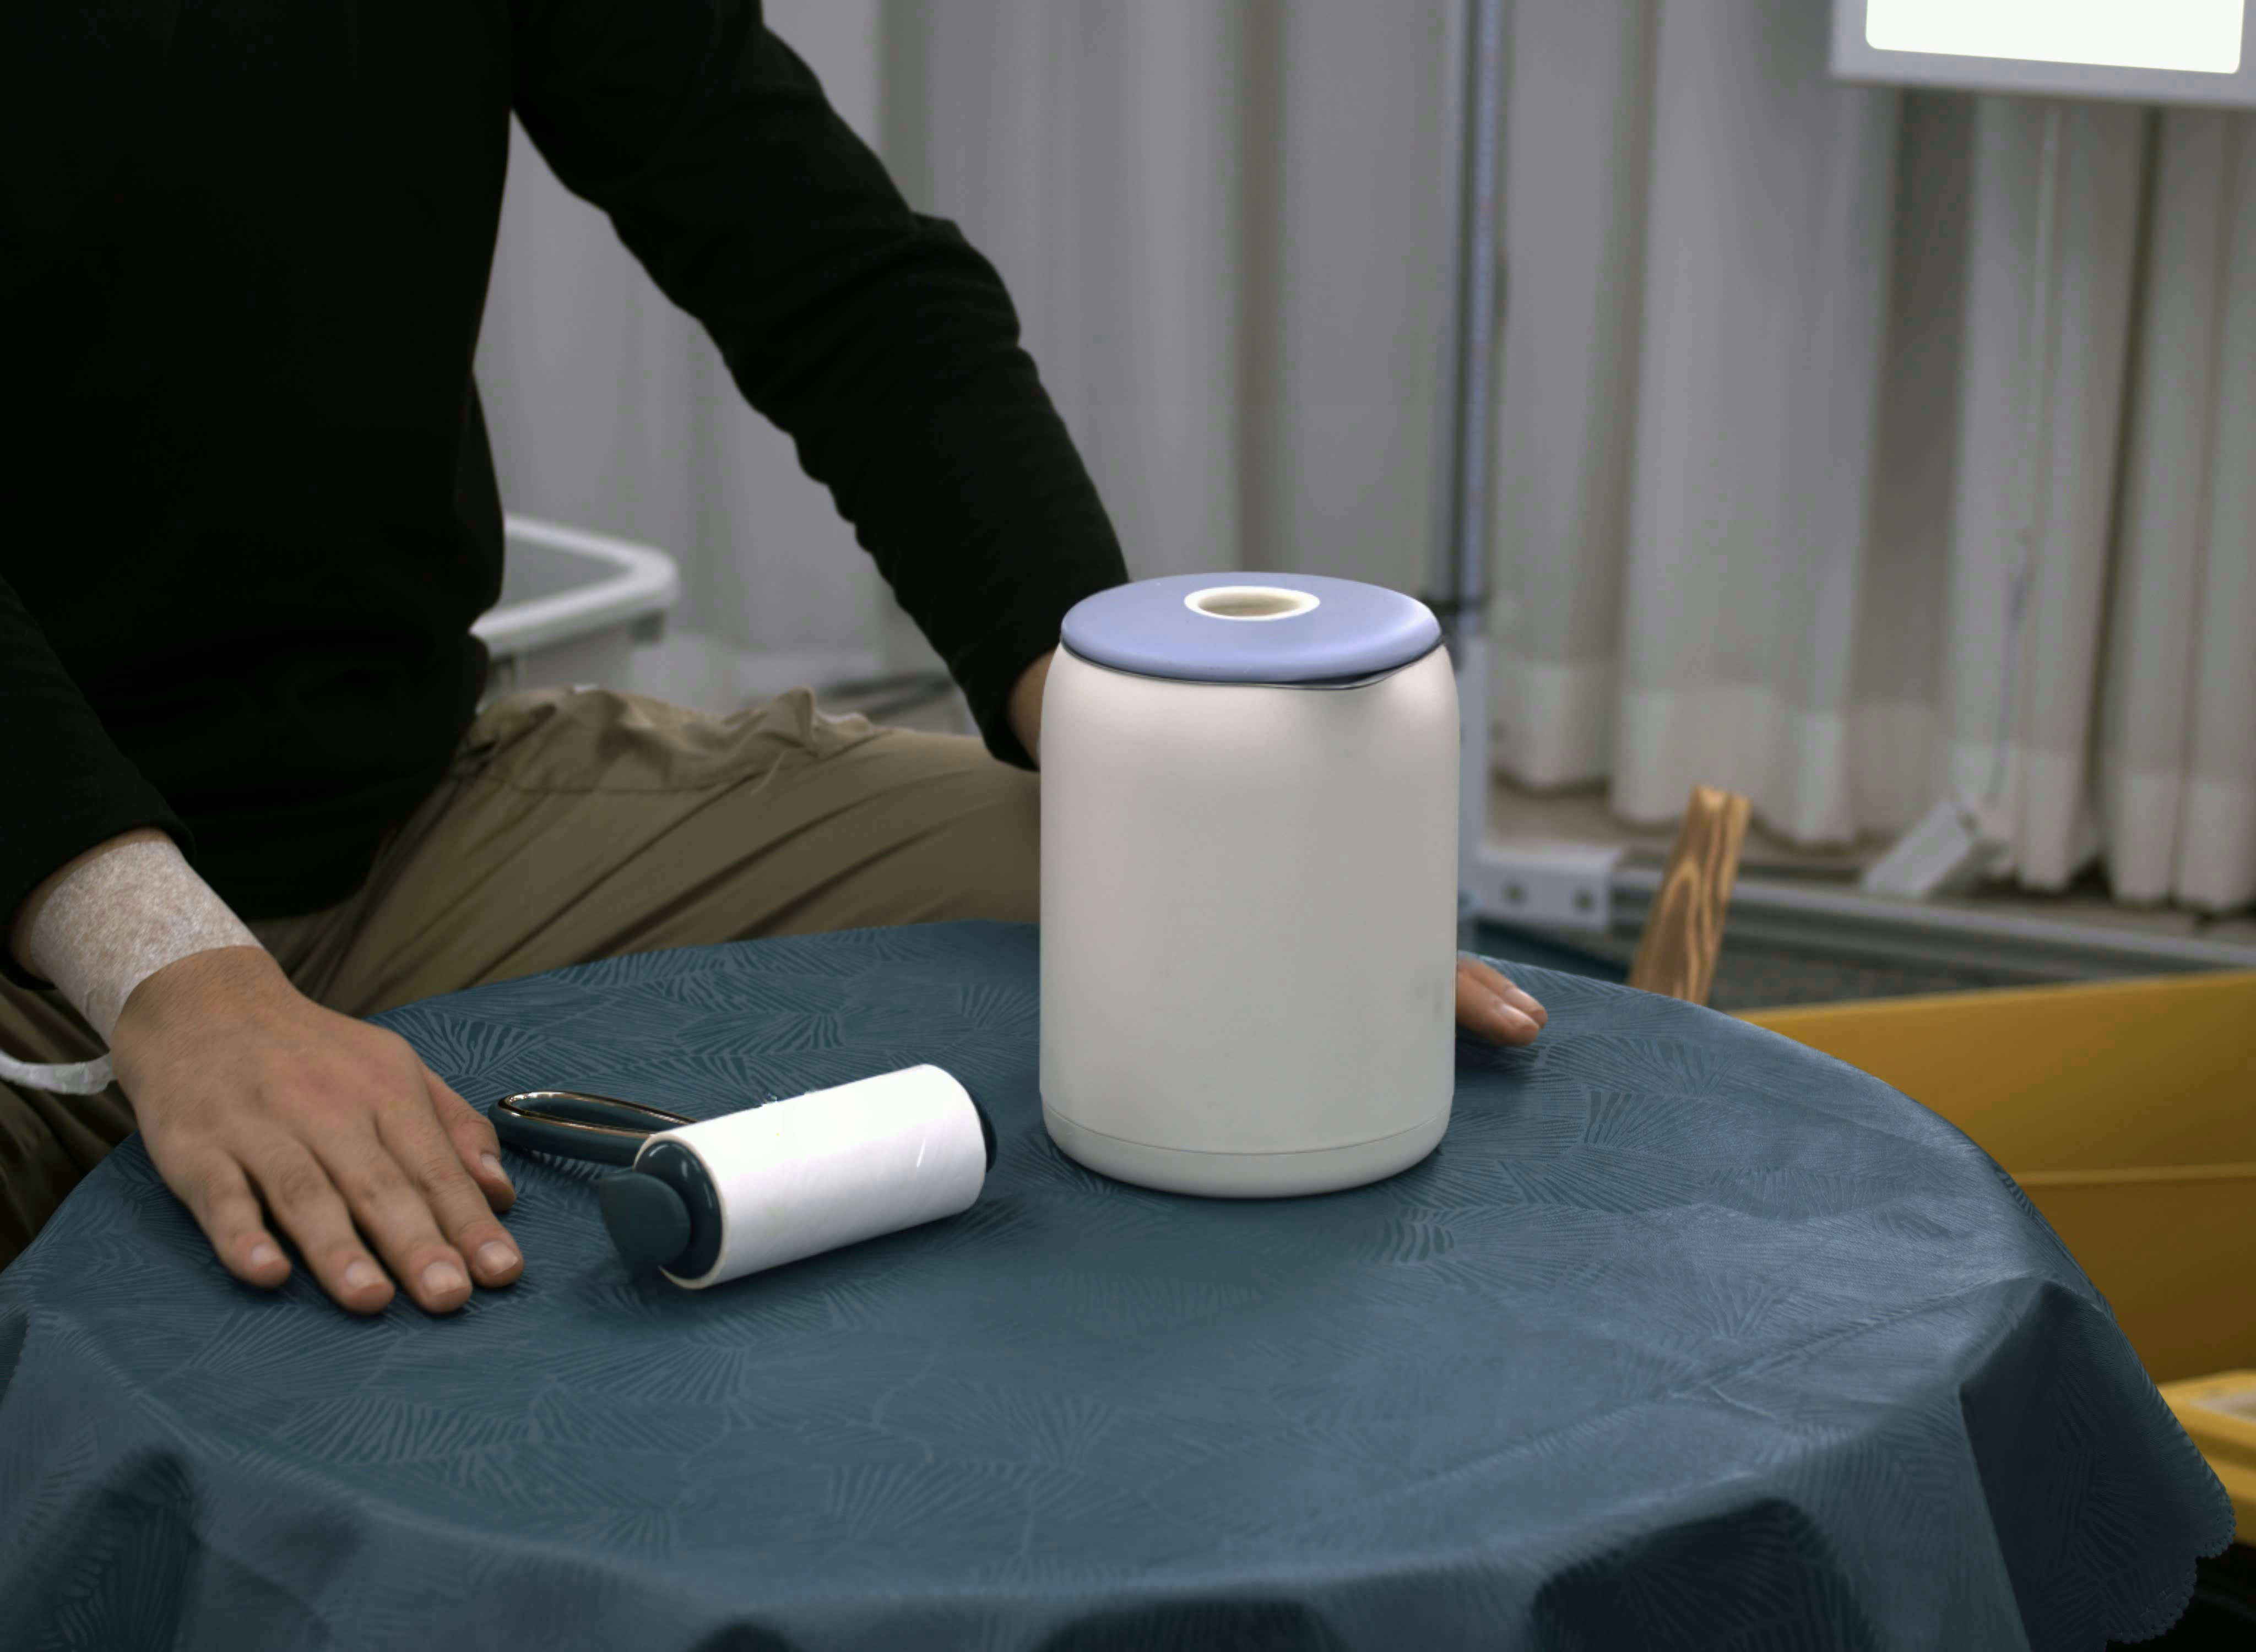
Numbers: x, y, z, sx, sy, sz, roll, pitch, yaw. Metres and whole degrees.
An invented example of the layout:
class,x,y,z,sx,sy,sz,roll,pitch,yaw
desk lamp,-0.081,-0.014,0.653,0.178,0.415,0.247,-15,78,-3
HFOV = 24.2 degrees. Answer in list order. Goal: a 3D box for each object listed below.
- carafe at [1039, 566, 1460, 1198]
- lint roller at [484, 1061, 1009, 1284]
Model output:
class,x,y,z,sx,sy,sz,roll,pitch,yaw
carafe,0.027,0.011,1.665,0.133,0.184,0.189,-7,16,-26
lint roller,-0.140,0.093,1.609,0.135,0.048,0.178,-13,18,-41
